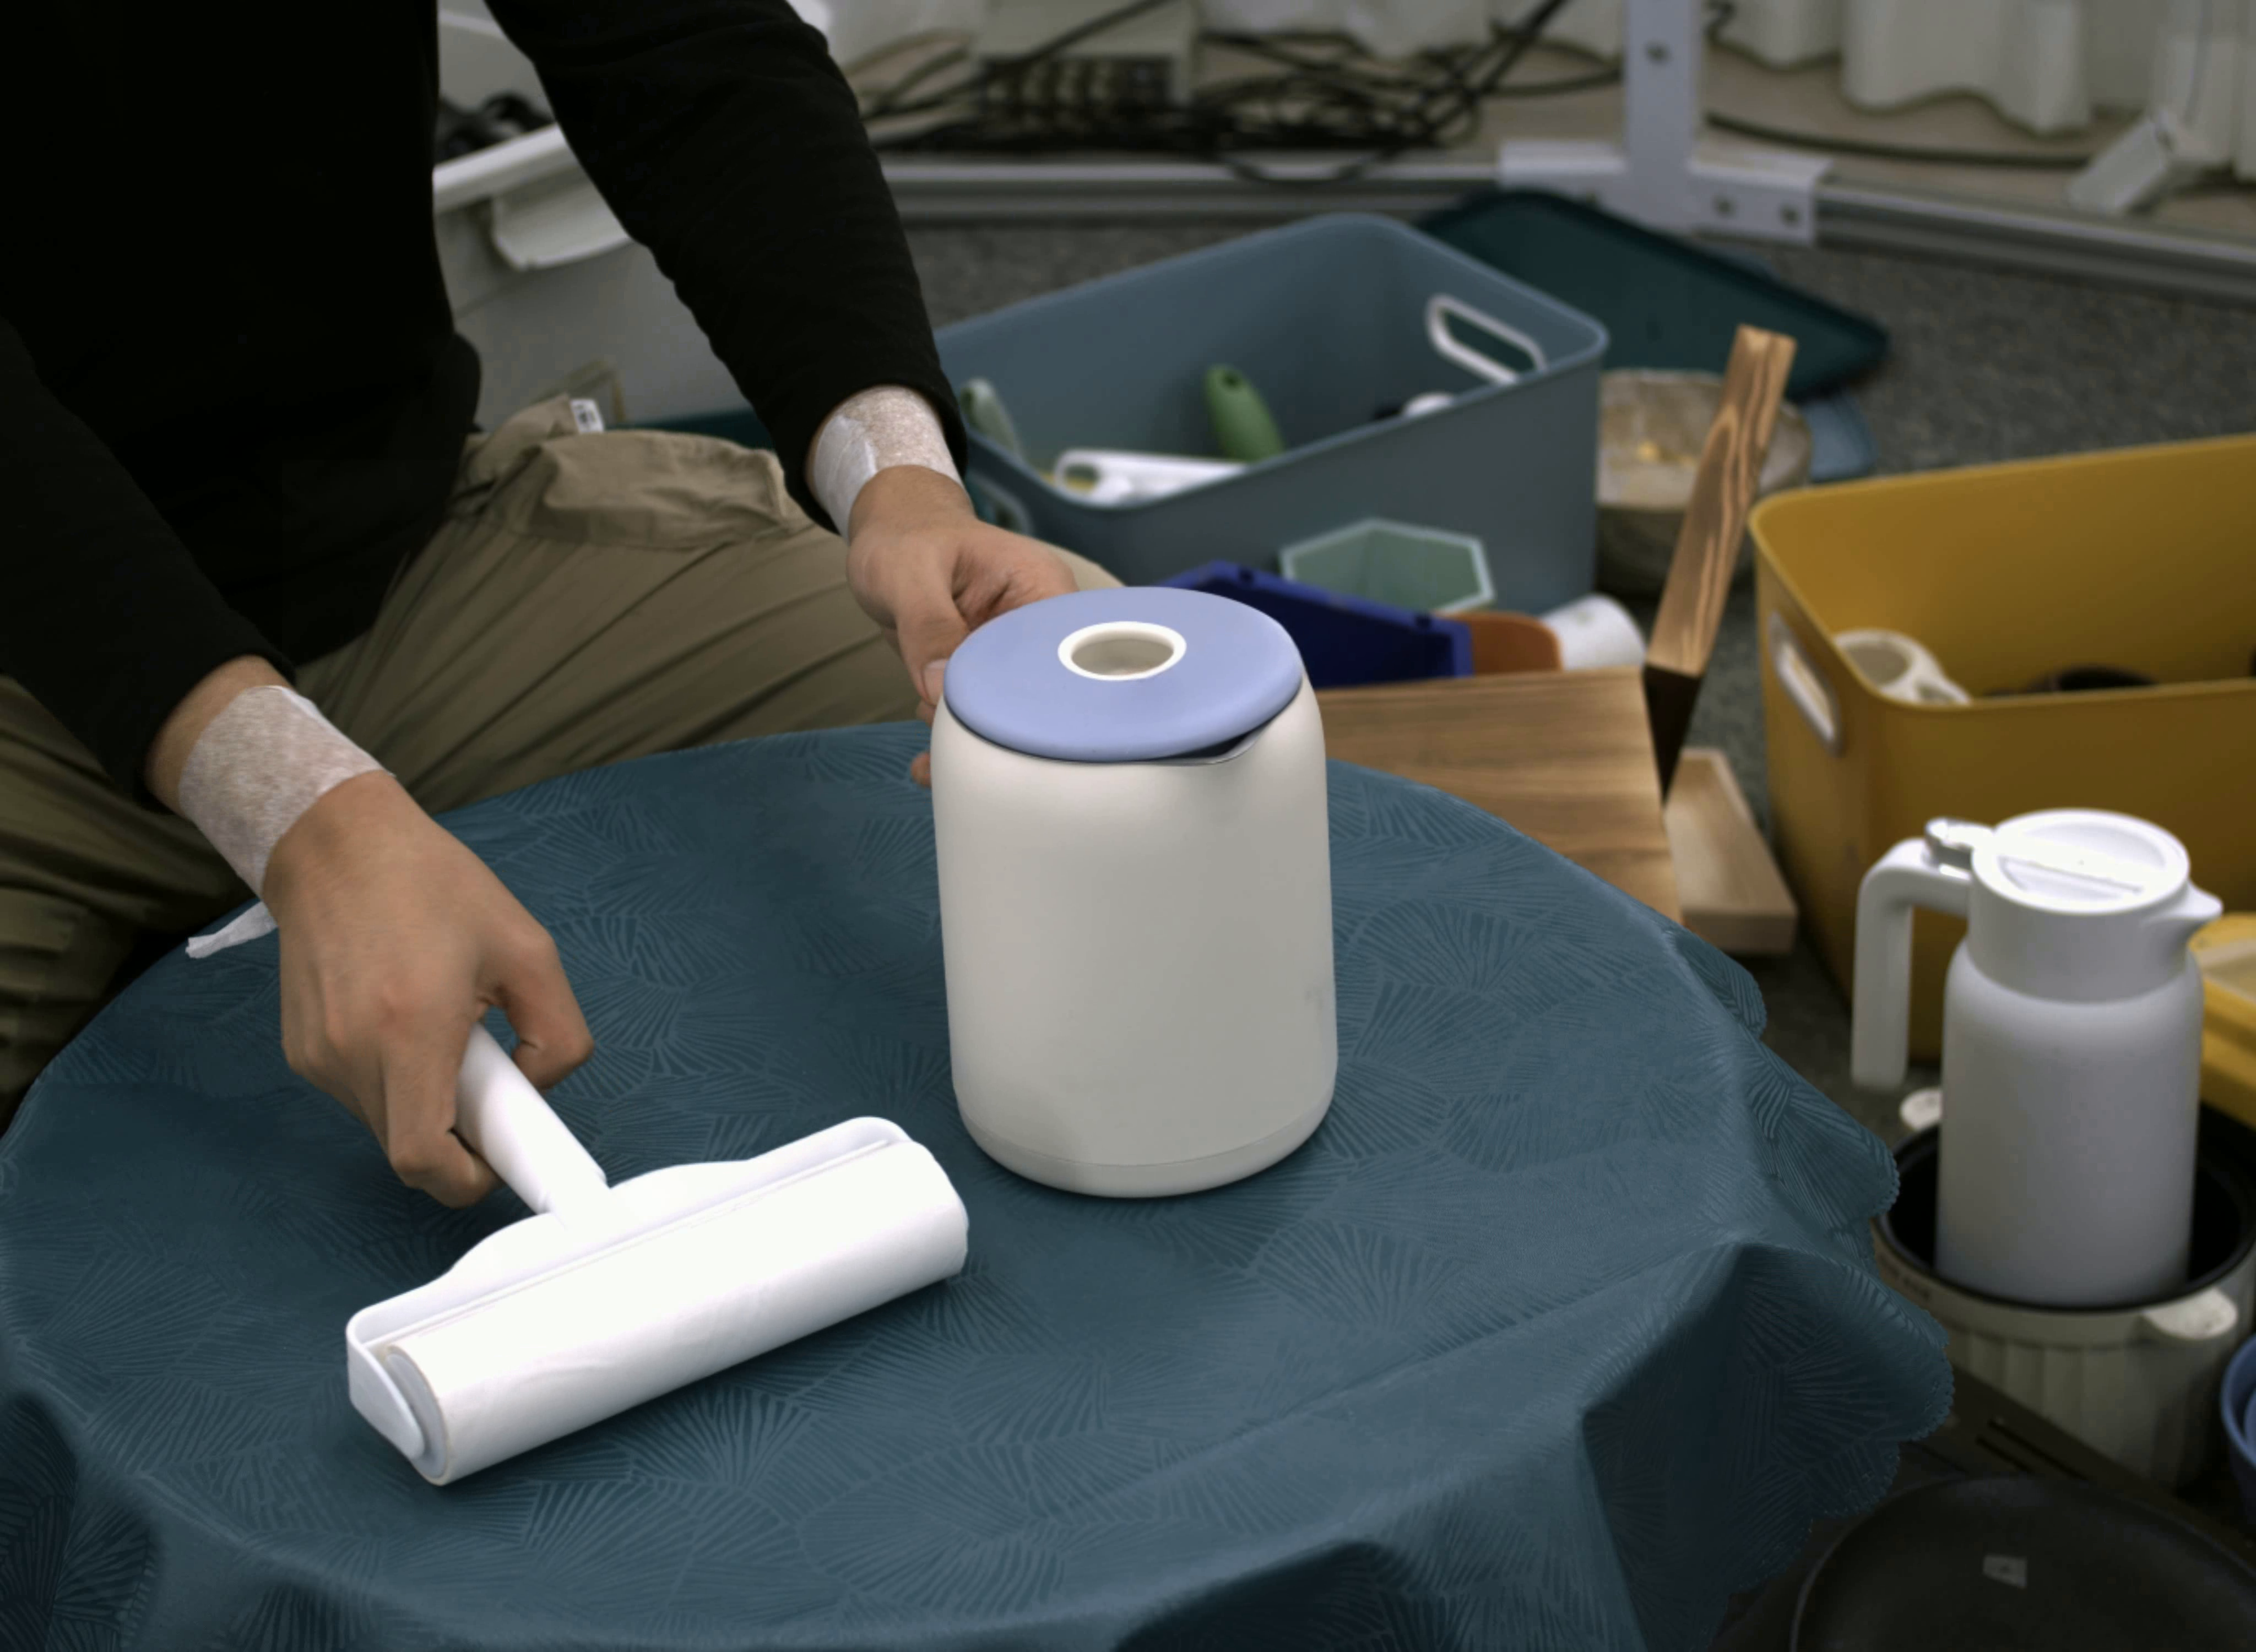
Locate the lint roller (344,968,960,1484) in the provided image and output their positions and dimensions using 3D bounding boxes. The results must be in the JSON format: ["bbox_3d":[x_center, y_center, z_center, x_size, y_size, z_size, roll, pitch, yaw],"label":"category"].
[{"bbox_3d":[-0.193,0.105,1.824,0.204,0.047,0.227,-21,44,-29],"label":"lint roller"}]

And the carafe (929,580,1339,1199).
[{"bbox_3d":[-0.010,0.012,1.890,0.133,0.181,0.191,-17,28,-27],"label":"carafe"}]
